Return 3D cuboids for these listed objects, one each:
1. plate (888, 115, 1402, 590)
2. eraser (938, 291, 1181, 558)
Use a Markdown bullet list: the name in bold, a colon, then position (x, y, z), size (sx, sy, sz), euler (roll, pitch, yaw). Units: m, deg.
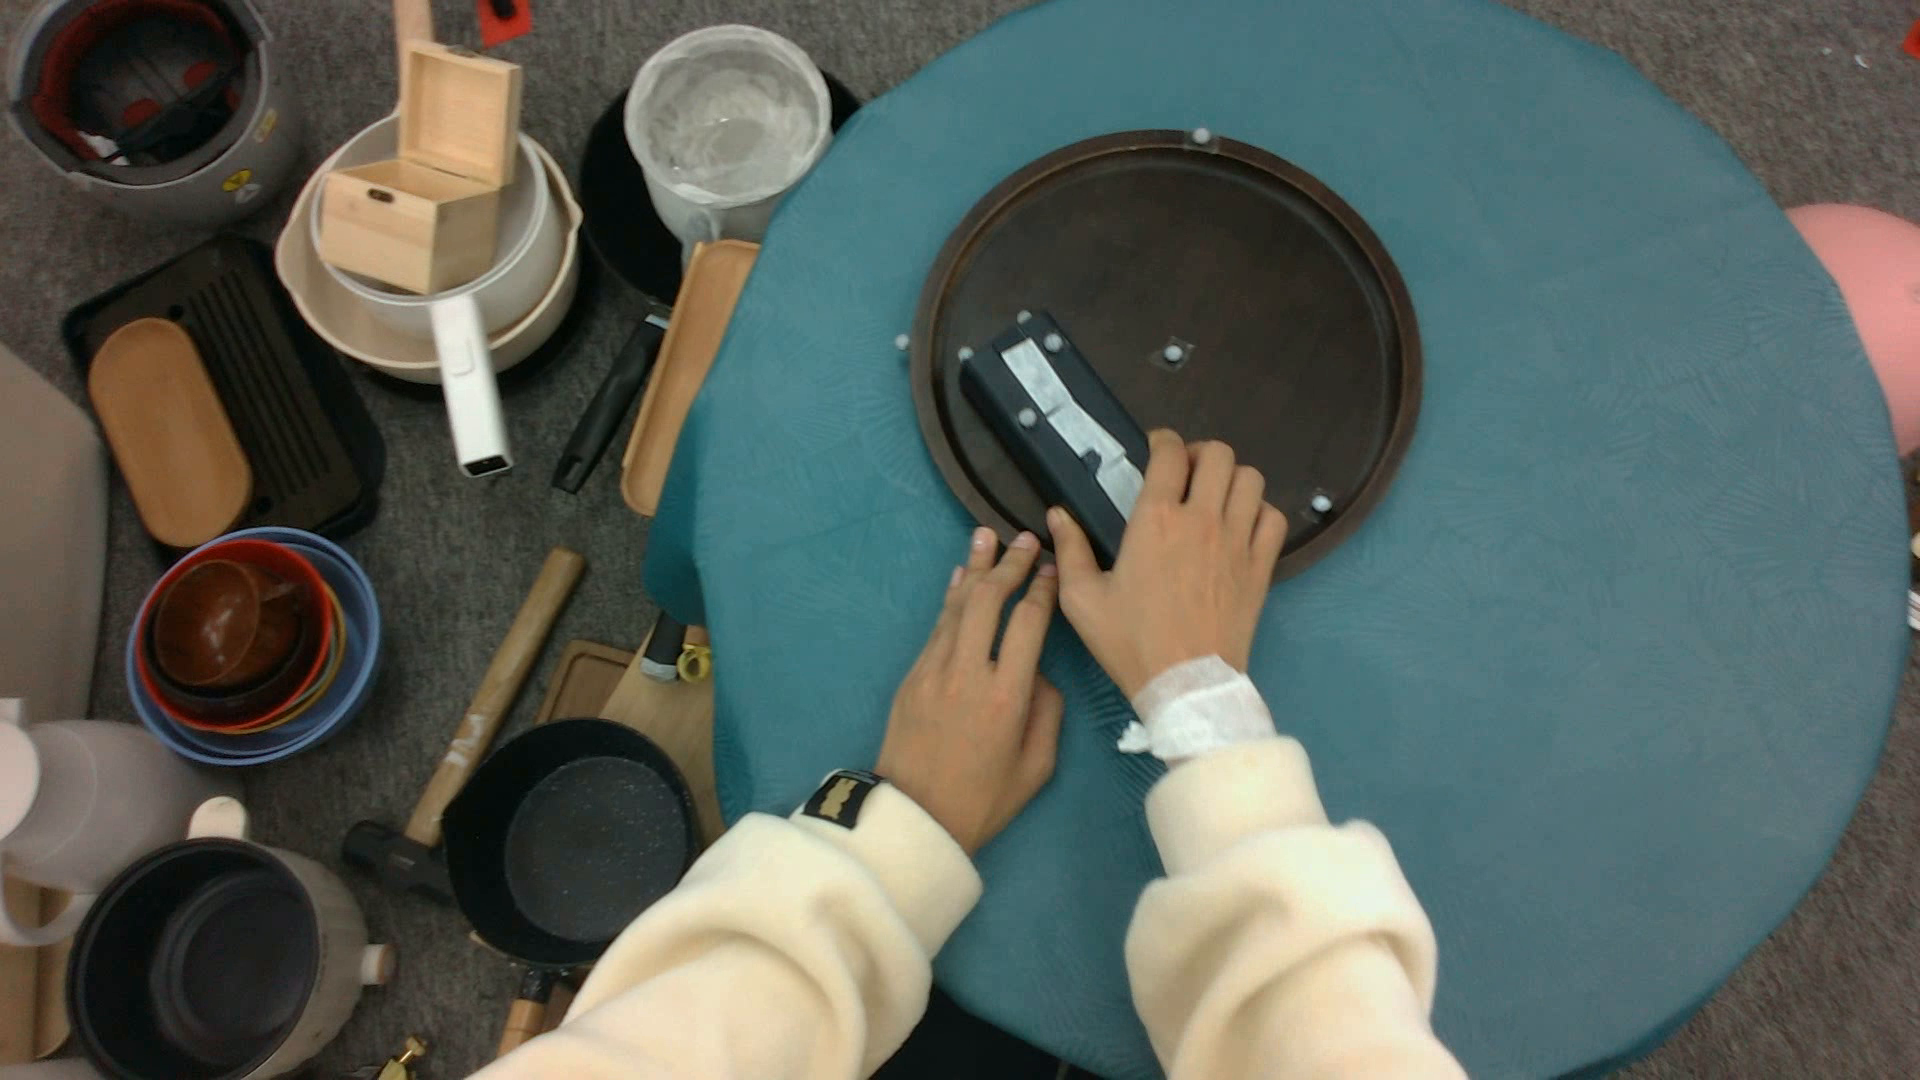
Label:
- **plate**: position (0.091, -0.096, 0.684), size (0.255, 0.029, 0.255), euler (1, 72, -2)
- **eraser**: position (0.046, -0.055, 0.656), size (0.053, 0.030, 0.125), euler (-35, 78, -8)
